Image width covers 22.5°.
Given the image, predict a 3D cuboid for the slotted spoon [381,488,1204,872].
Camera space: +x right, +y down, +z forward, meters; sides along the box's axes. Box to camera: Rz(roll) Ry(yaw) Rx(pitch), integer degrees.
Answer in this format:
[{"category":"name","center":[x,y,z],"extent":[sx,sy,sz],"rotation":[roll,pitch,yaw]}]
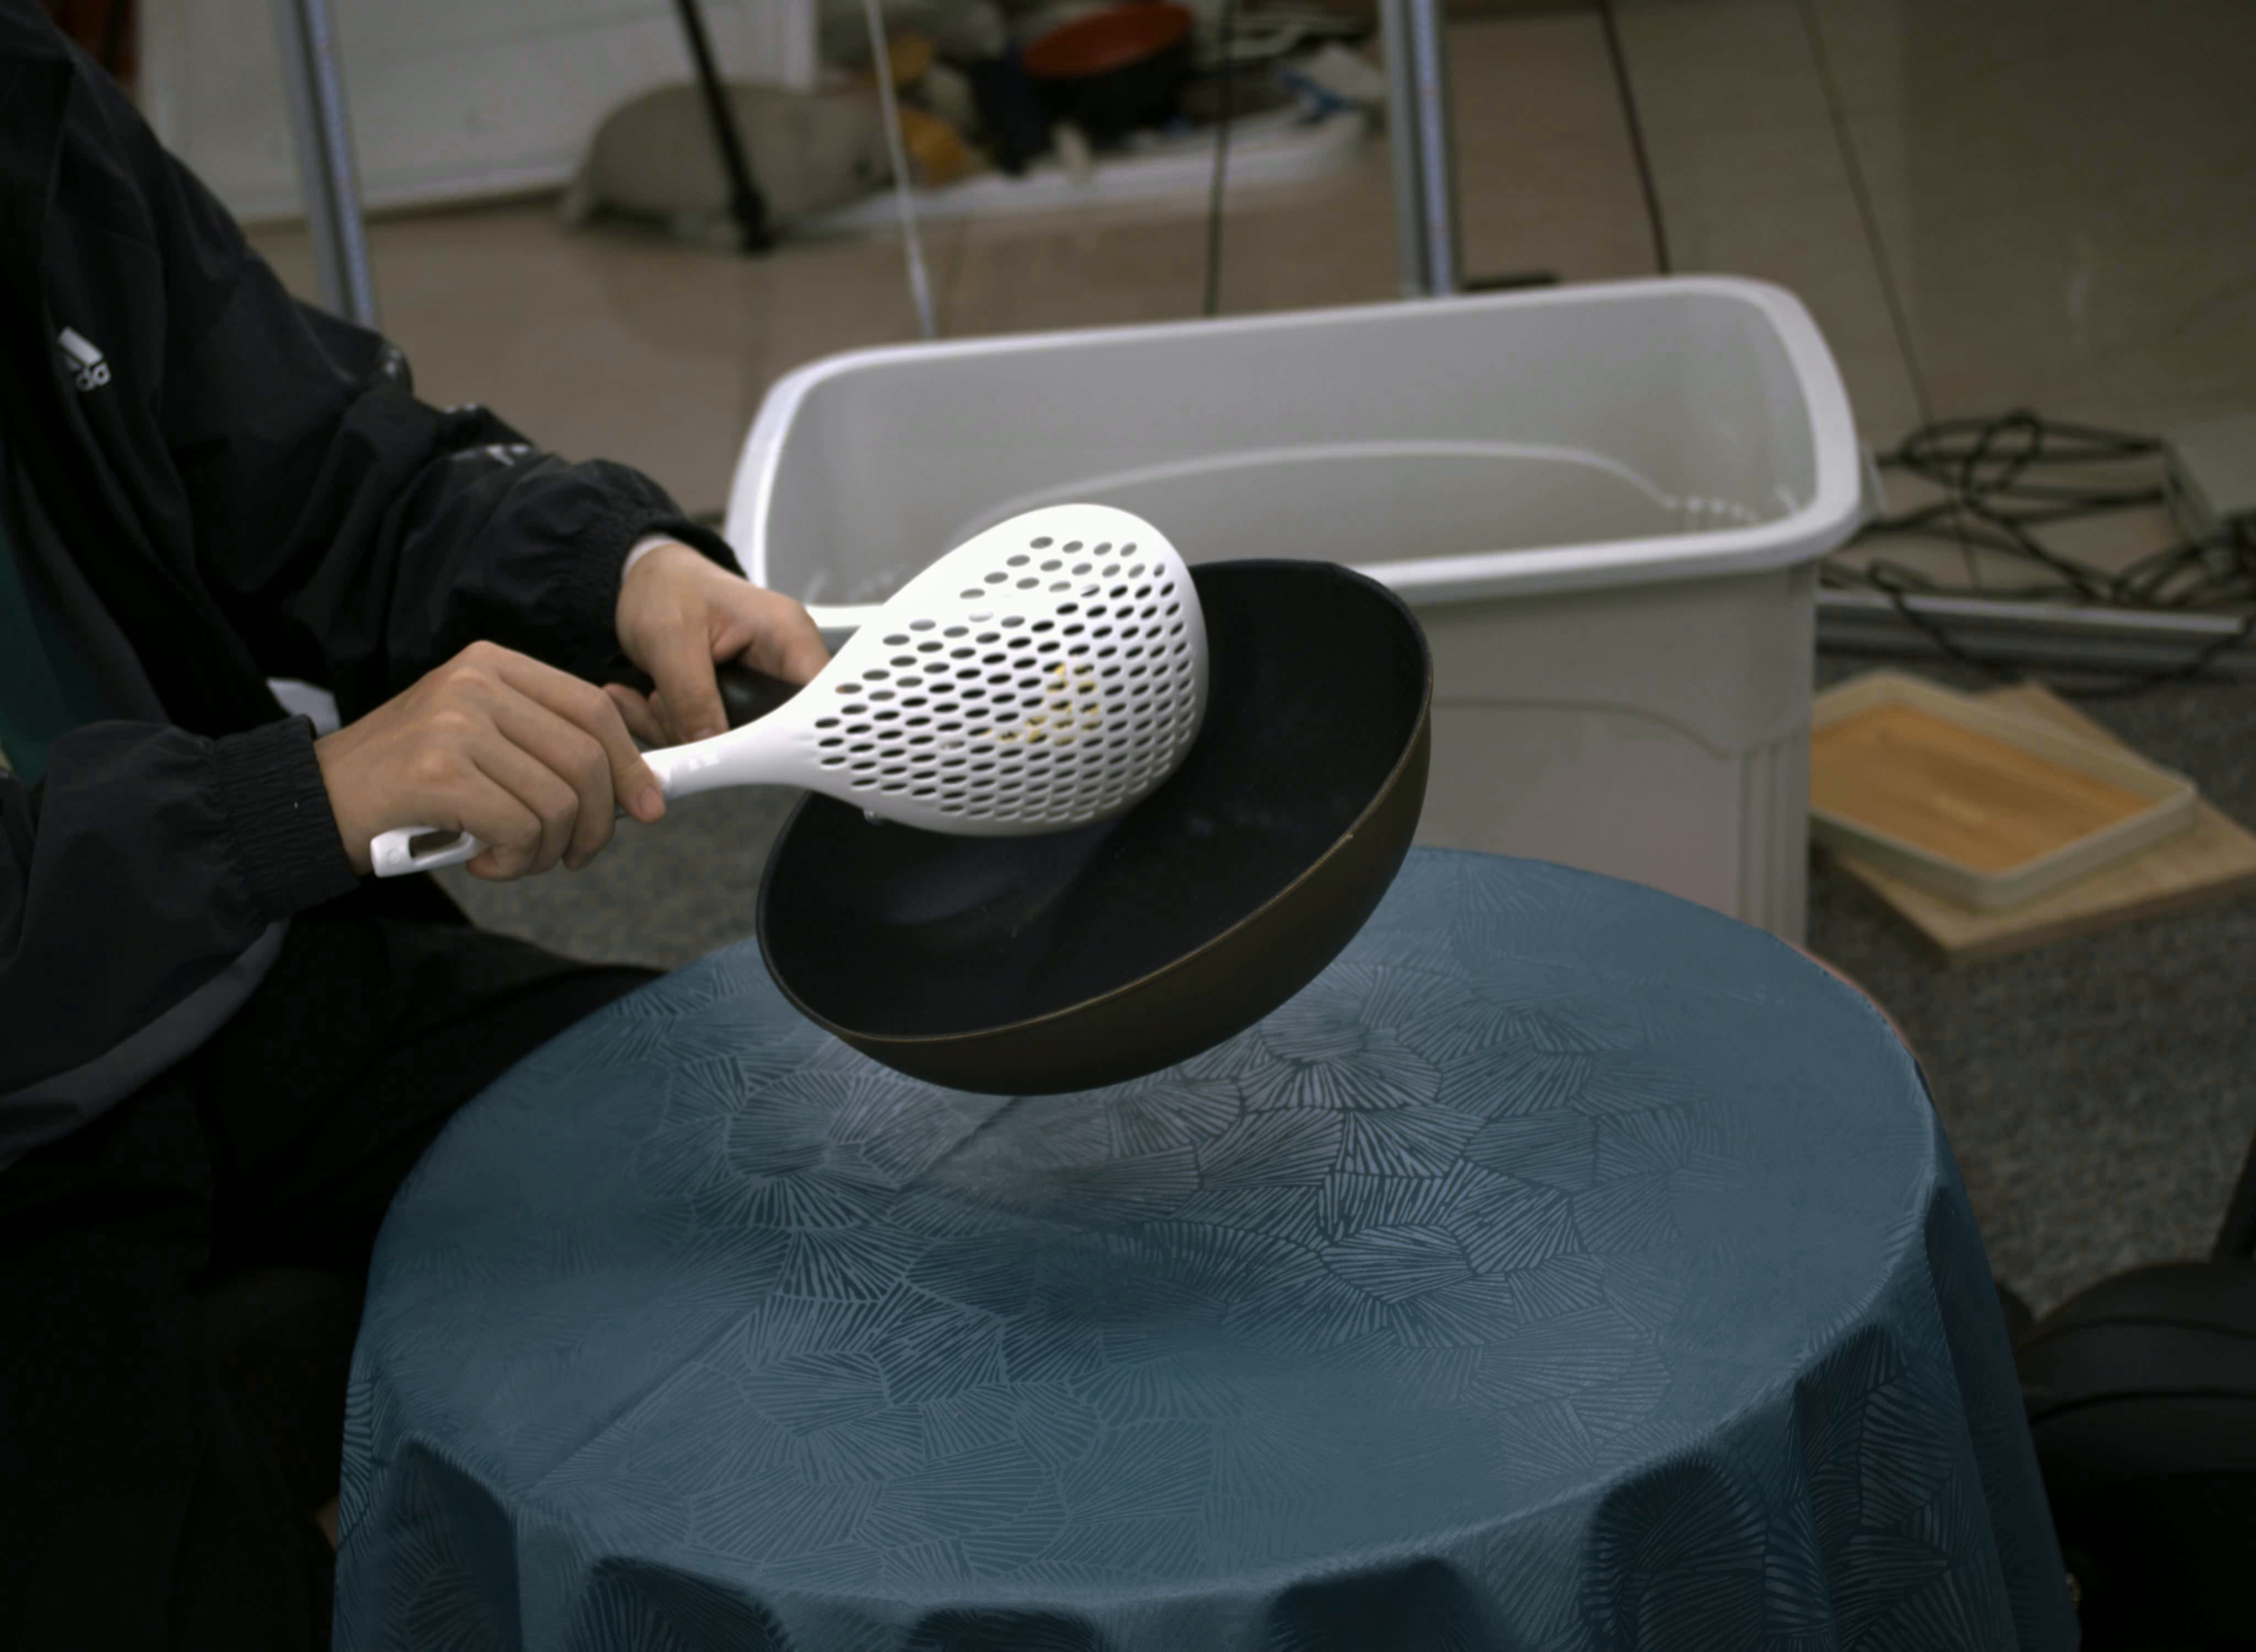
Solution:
[{"category":"slotted spoon","center":[-0.124,-0.032,2.180],"extent":[0.346,0.139,0.049],"rotation":[-15,26,-16]}]

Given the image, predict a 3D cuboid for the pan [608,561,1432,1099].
[{"category":"pan","center":[-0.059,-0.001,2.231],"extent":[0.285,0.088,0.460],"rotation":[-44,34,-24]}]
